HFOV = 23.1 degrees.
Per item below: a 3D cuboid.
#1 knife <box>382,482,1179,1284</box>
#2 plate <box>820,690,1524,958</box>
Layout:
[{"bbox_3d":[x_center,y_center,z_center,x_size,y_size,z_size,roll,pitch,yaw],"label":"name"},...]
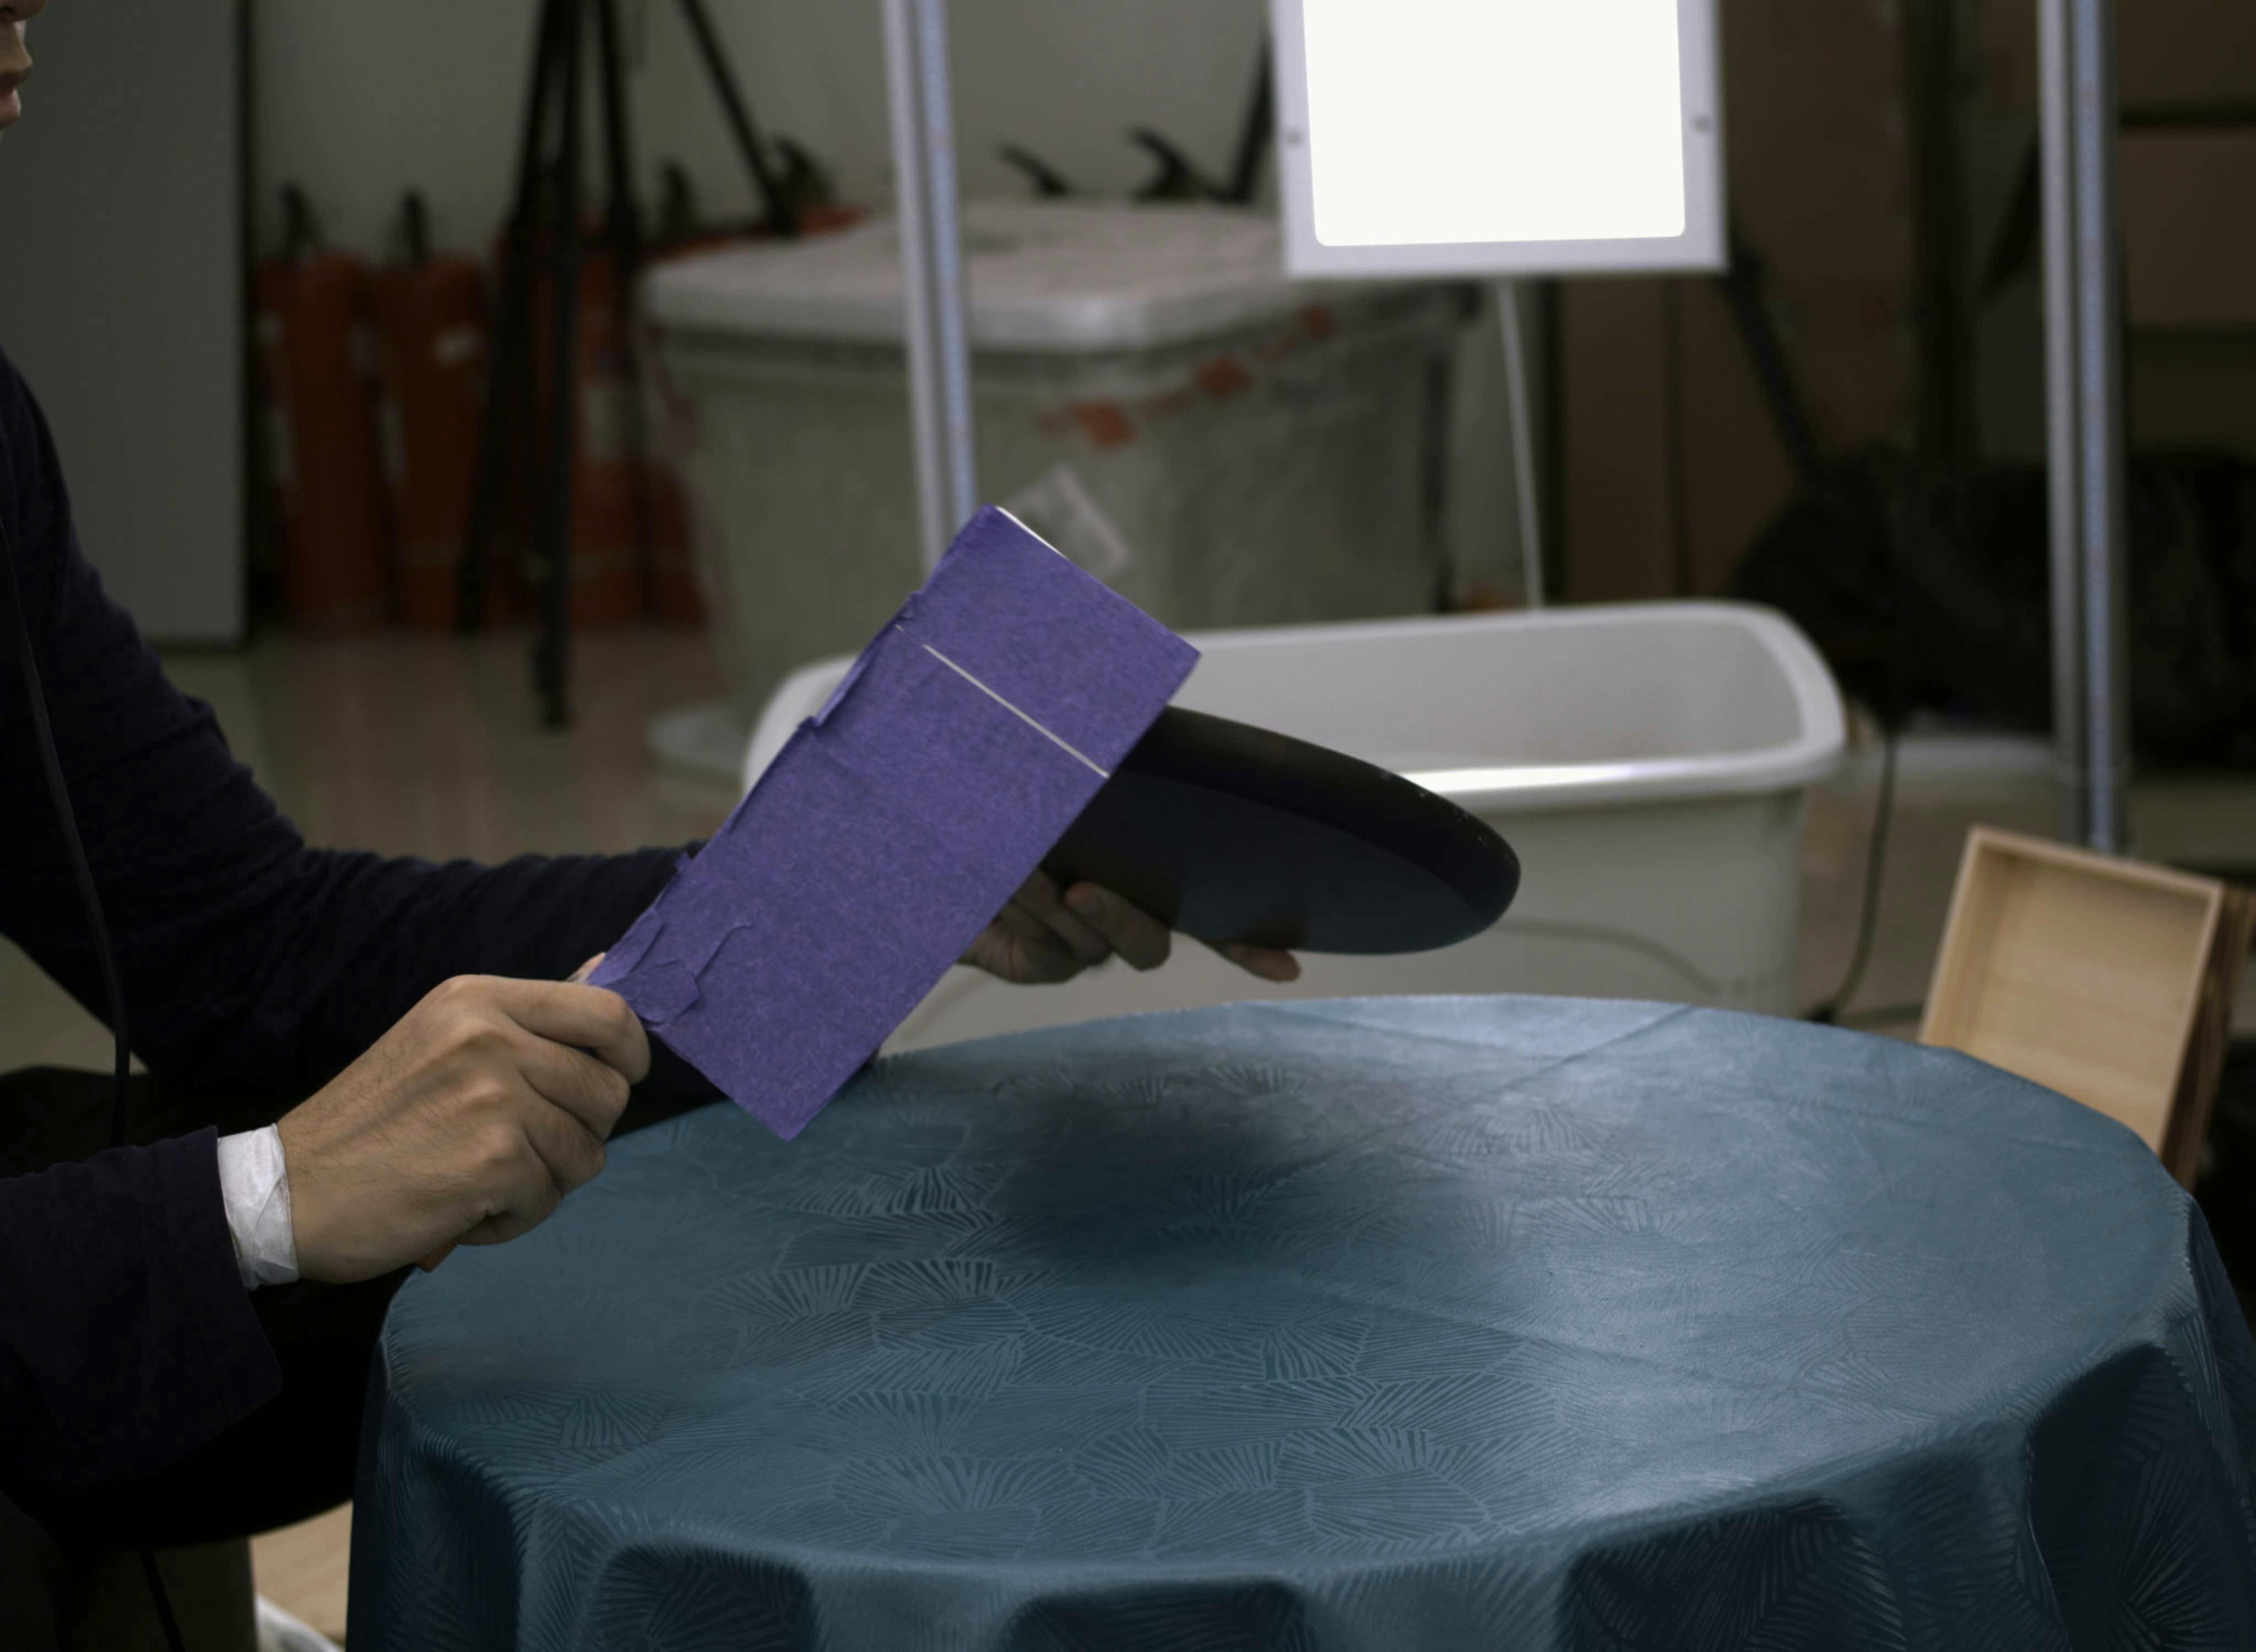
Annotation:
[{"bbox_3d":[-0.108,0.034,1.764,0.105,0.315,0.032,38,-4,20],"label":"knife"},{"bbox_3d":[0.013,0.000,1.929,0.254,0.029,0.255,14,-13,2],"label":"plate"}]
